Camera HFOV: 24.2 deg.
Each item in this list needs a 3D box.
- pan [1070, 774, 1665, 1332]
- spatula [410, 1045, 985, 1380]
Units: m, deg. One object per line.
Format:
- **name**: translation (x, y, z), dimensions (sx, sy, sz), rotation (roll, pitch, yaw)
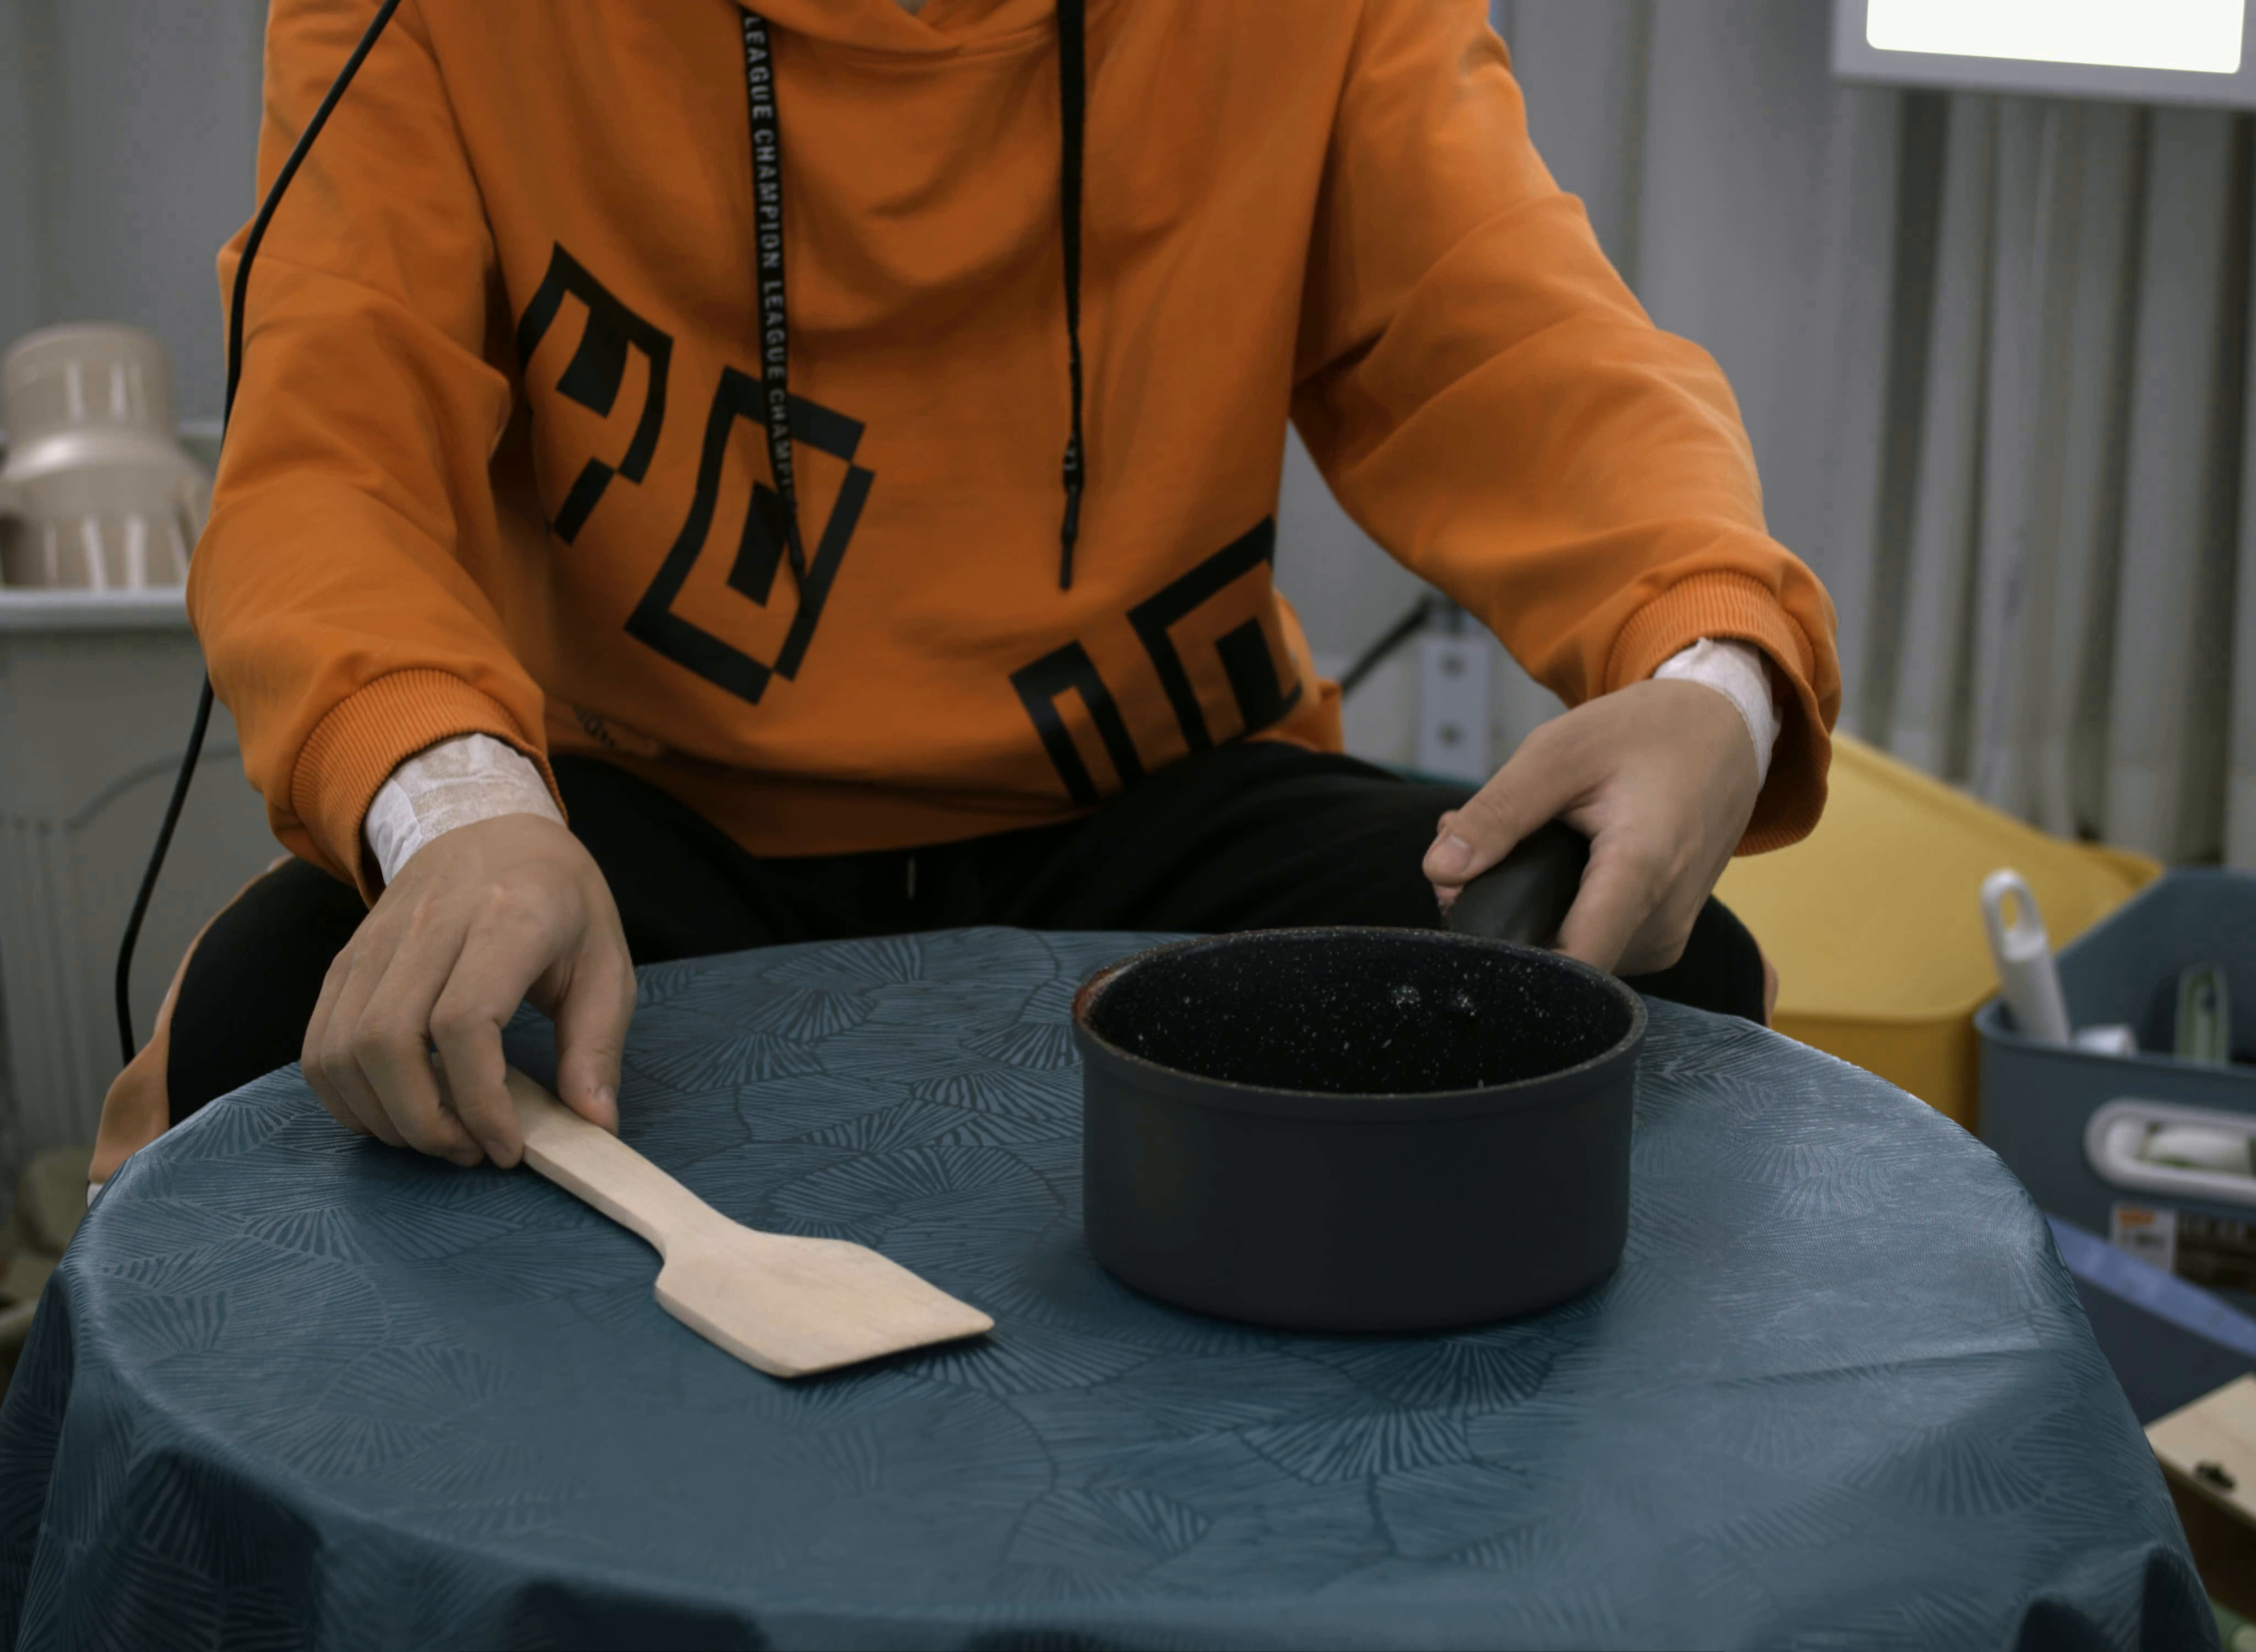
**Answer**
- **pan**: translation (0.098, 0.066, 1.635), dimensions (0.170, 0.087, 0.329), rotation (8, 19, 22)
- **spatula**: translation (-0.146, 0.113, 1.593), dimensions (0.072, 0.011, 0.289), rotation (-13, 22, -31)
